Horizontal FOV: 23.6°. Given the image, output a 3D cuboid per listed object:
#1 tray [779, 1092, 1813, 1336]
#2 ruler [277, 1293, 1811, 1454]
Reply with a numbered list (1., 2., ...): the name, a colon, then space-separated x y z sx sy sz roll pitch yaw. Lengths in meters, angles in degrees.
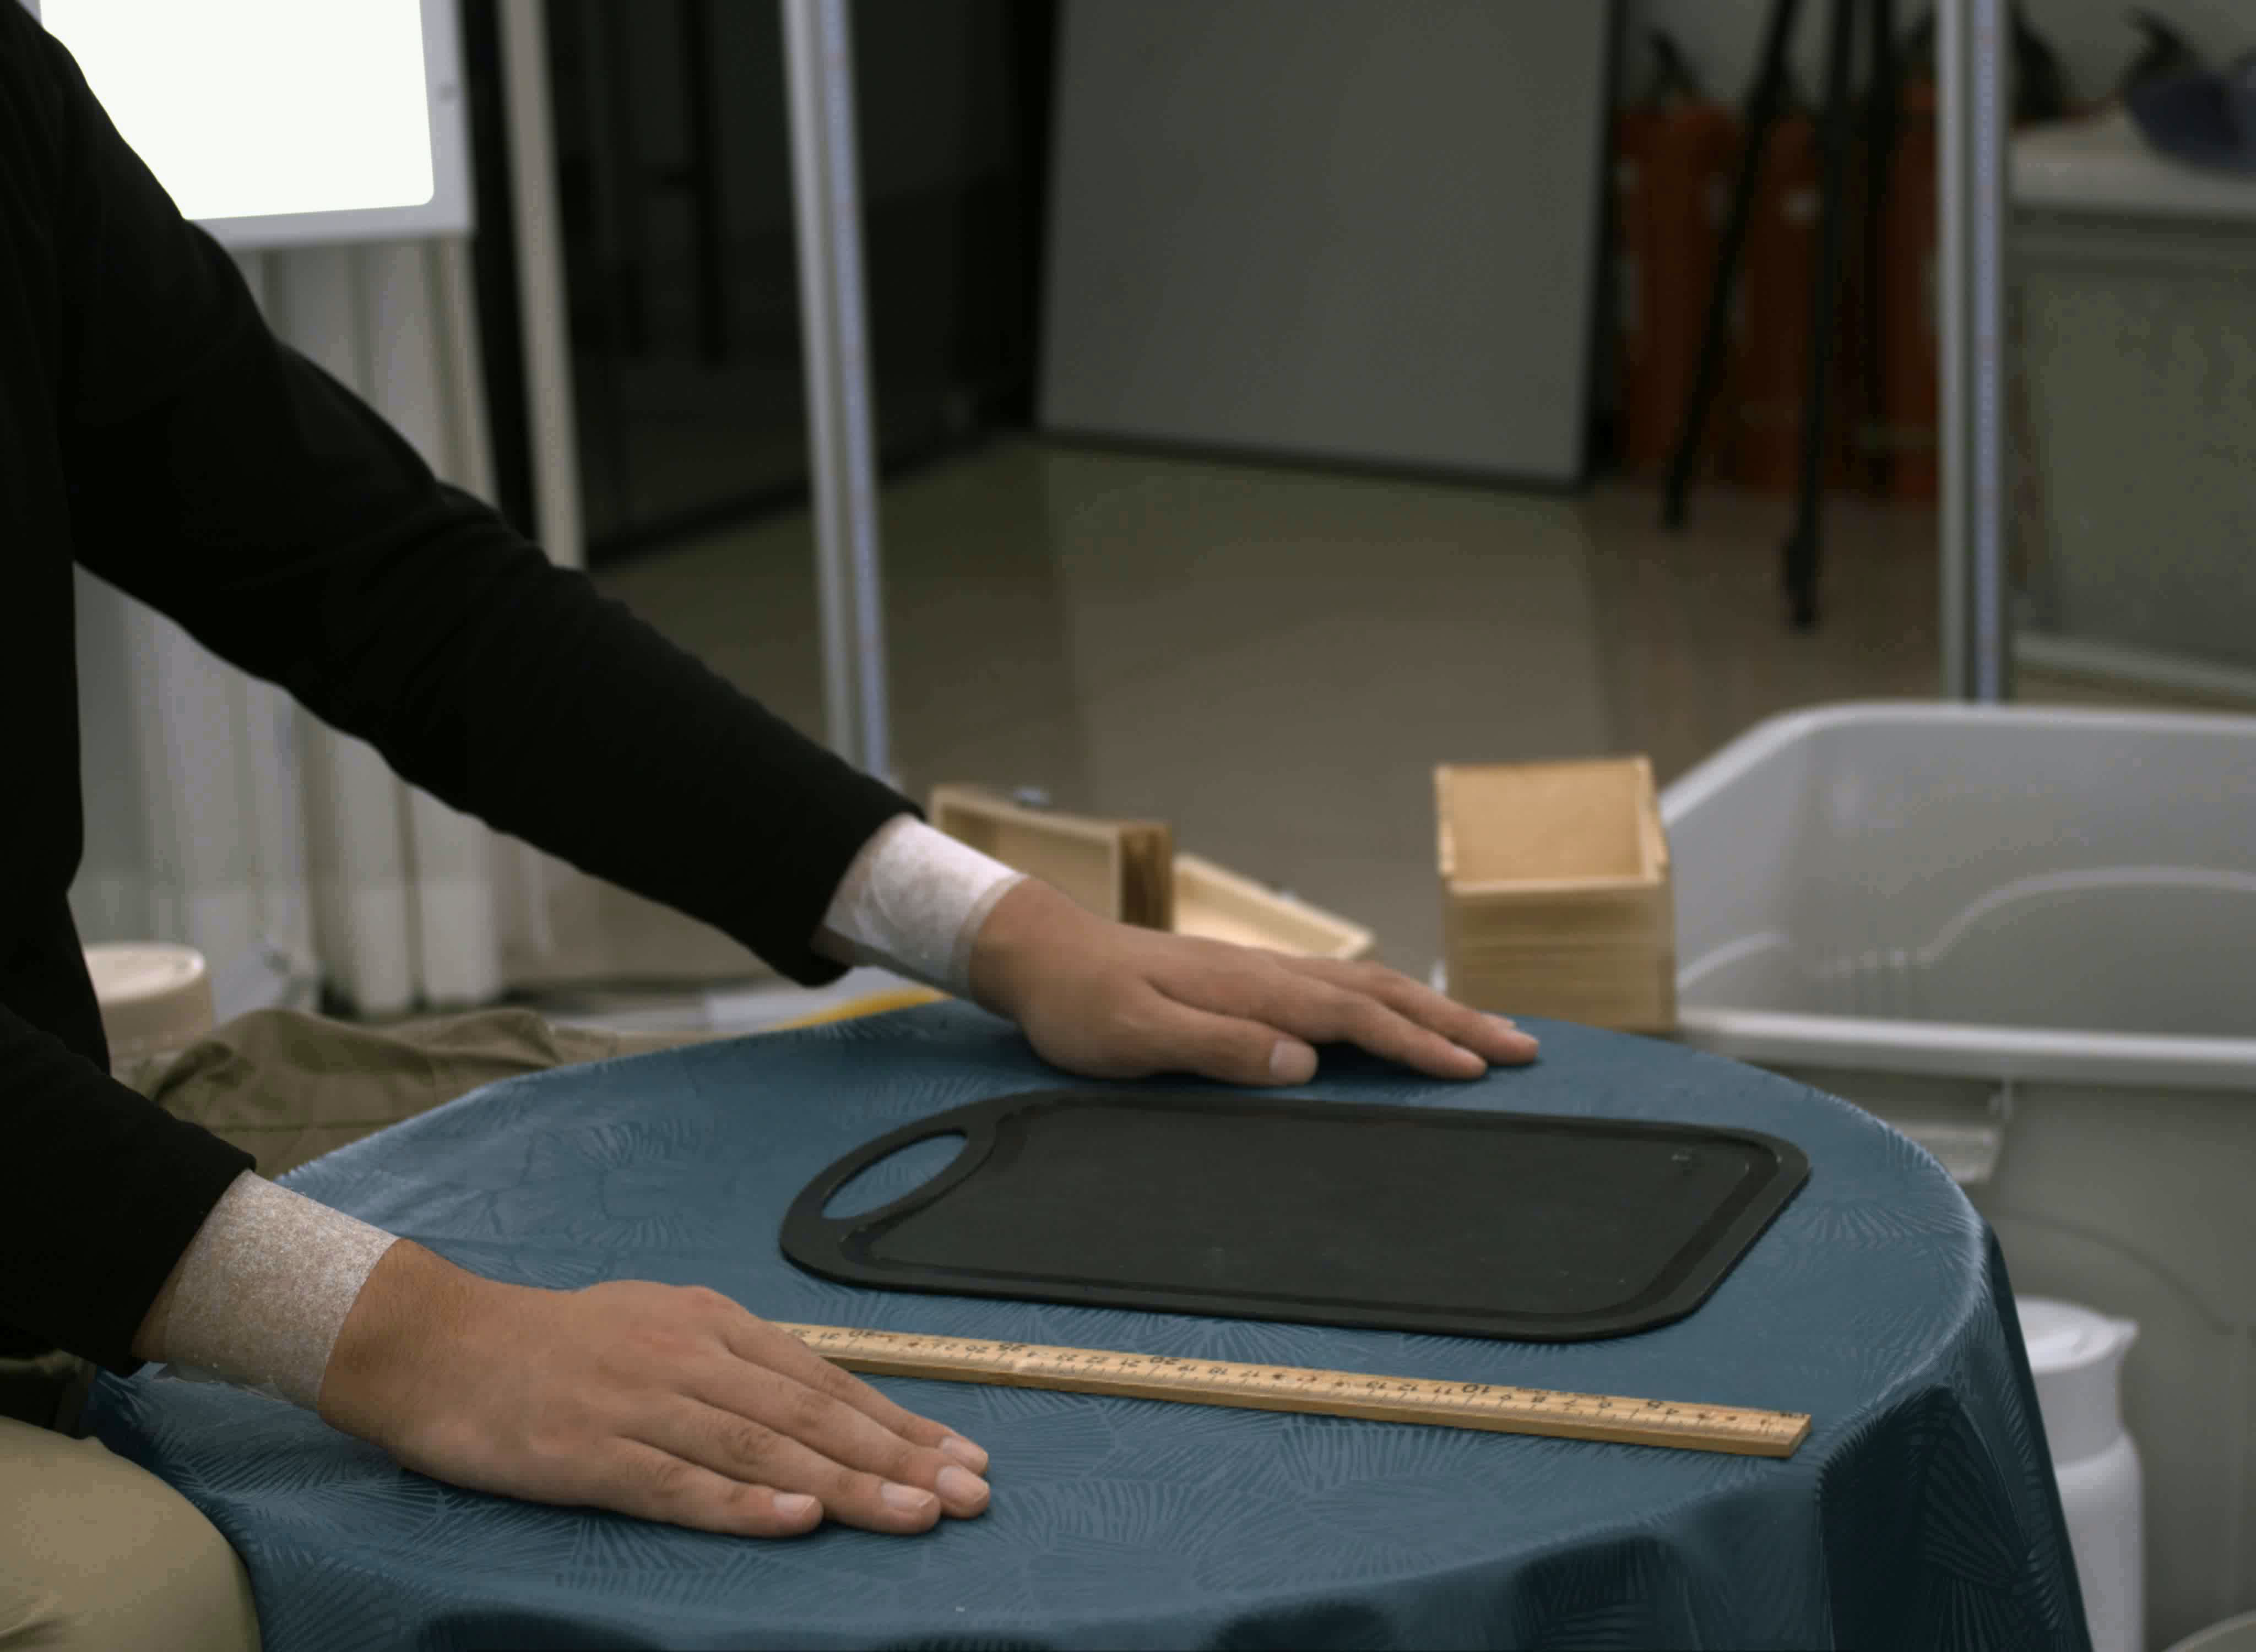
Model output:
1. tray: 0.048 0.121 1.741 0.326 0.010 0.208 2 15 24
2. ruler: -0.037 0.161 1.608 0.501 0.006 0.026 2 12 25
